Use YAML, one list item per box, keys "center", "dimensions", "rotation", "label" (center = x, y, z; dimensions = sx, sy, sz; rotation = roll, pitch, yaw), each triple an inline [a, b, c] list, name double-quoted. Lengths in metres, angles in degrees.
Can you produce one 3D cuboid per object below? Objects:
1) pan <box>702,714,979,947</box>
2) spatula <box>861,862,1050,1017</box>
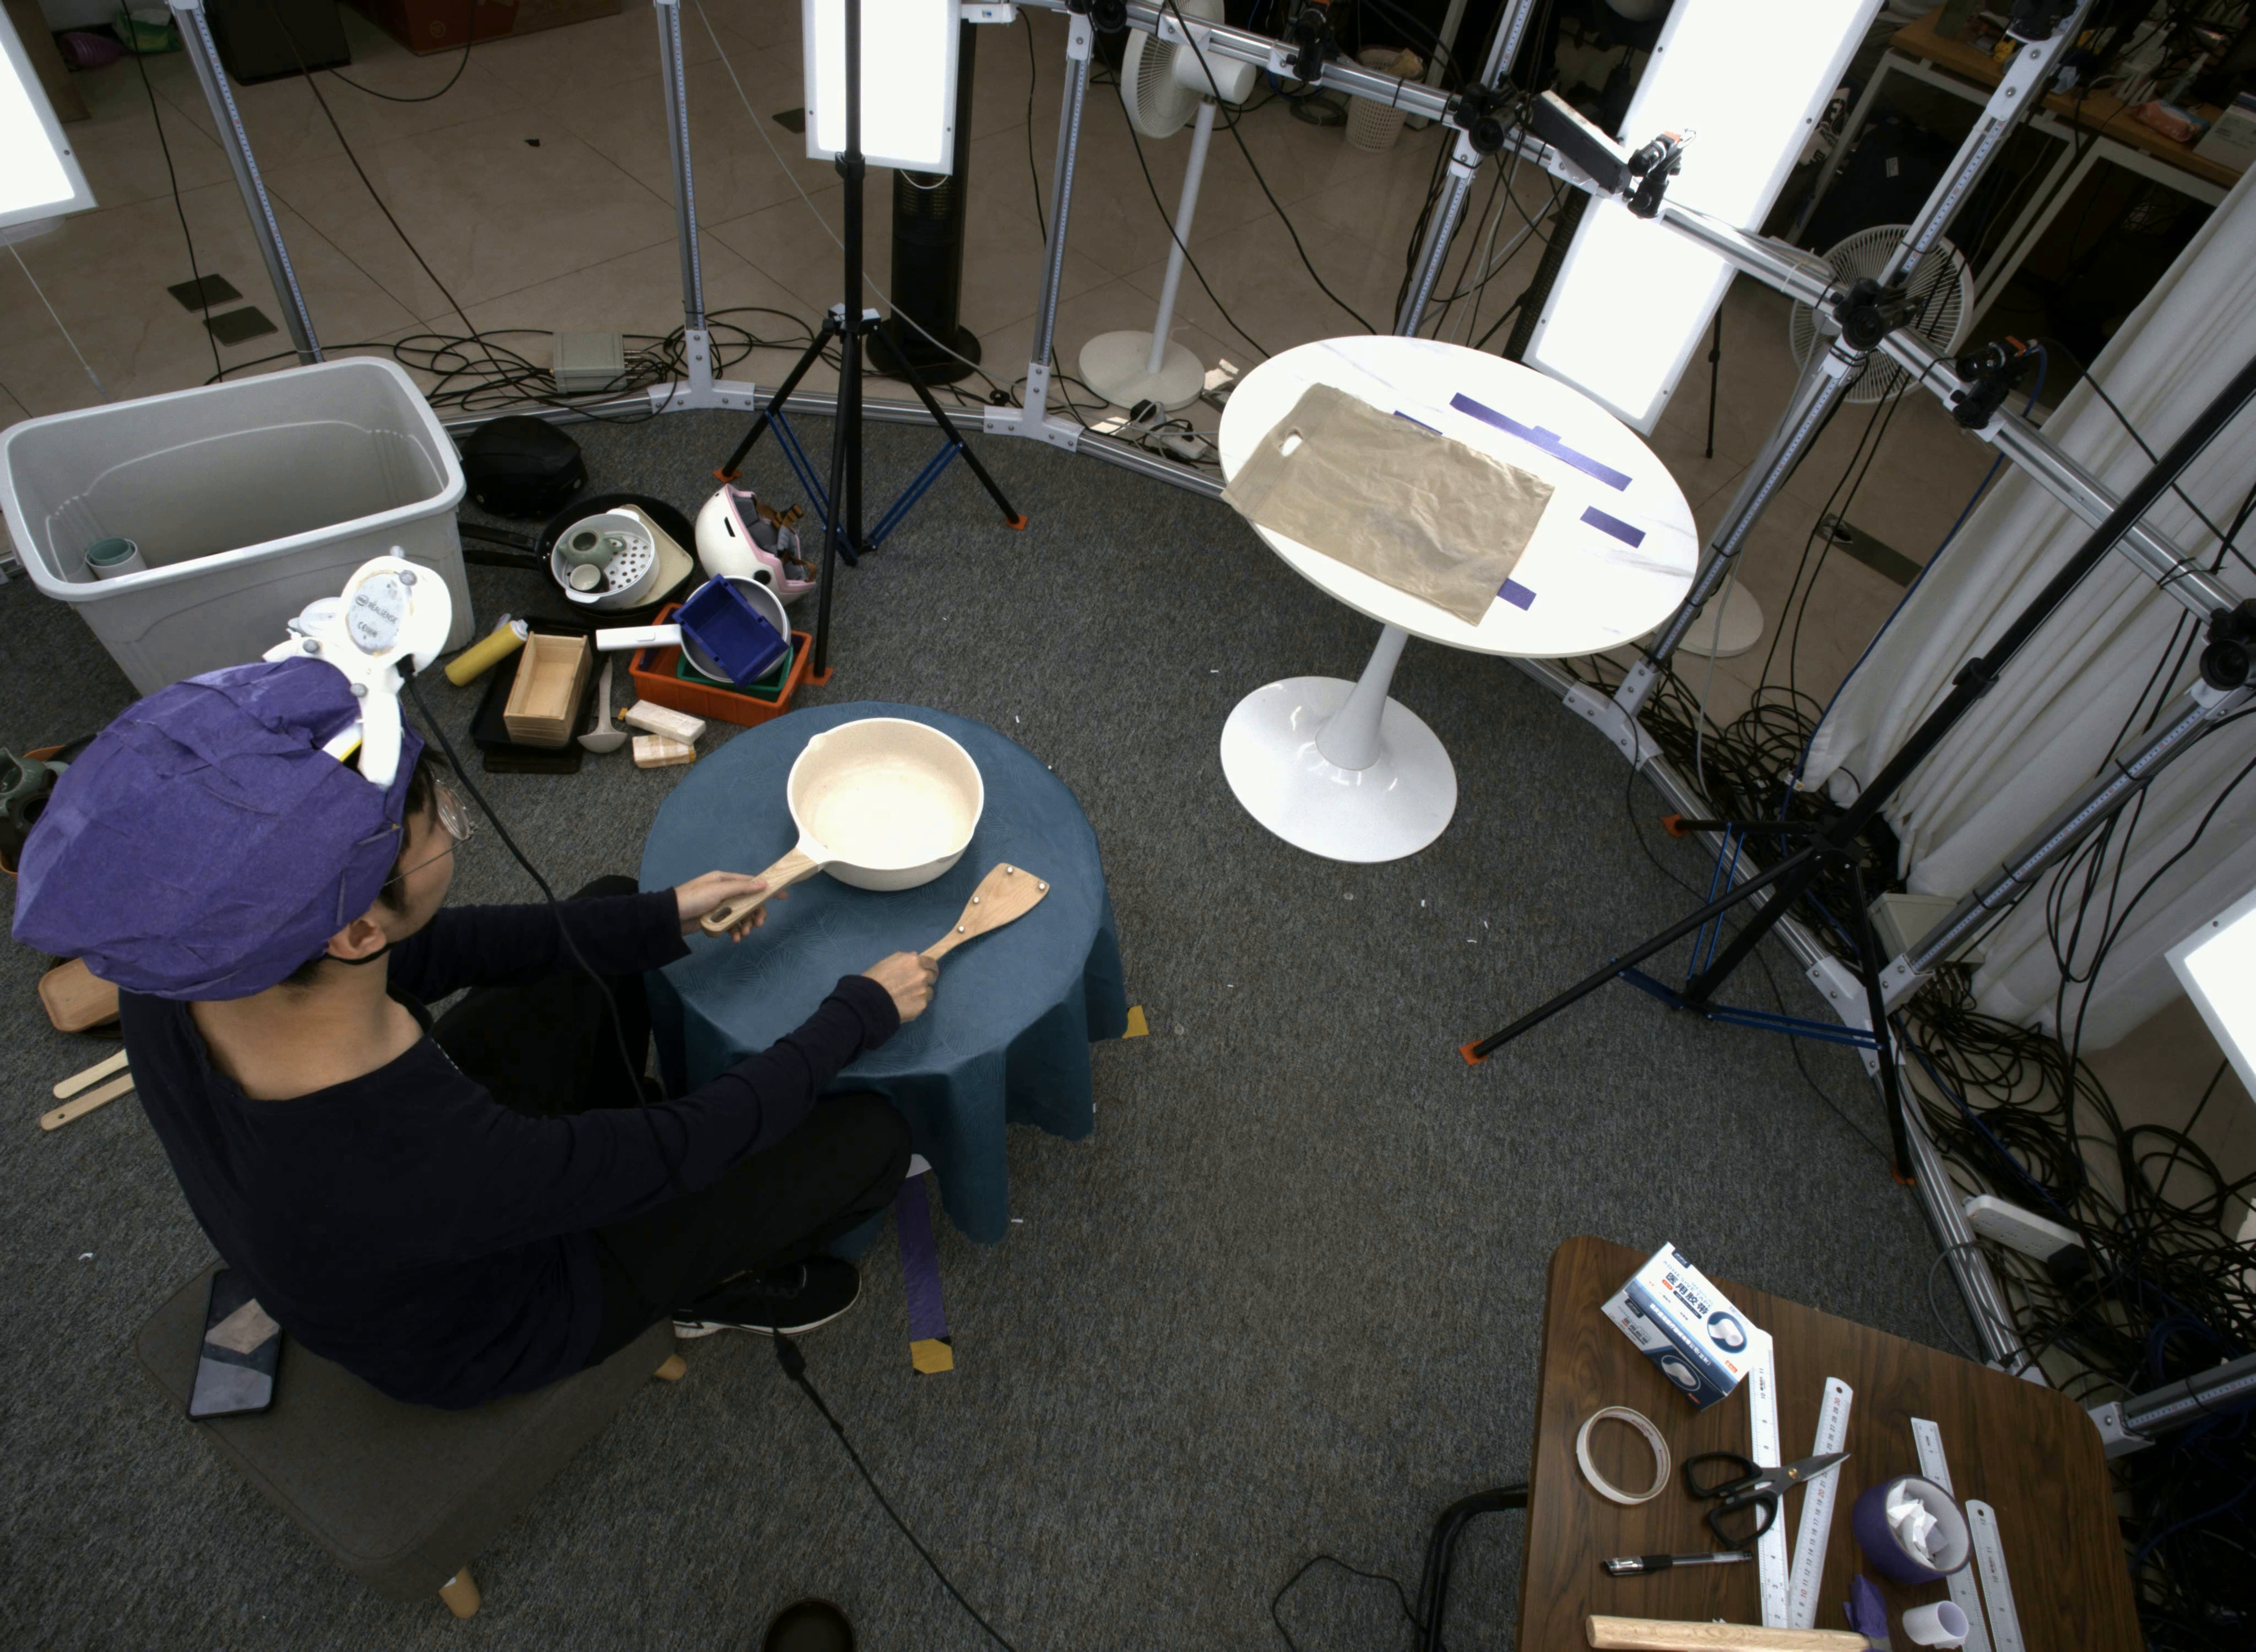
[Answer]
- center: [-0.374, 0.025, 1.652]
  dimensions: [0.258, 0.104, 0.434]
  rotation: [35, 54, 12]
  label: "pan"
- center: [-0.221, 0.139, 1.637]
  dimensions: [0.078, 0.017, 0.328]
  rotation: [35, 43, 14]
  label: "spatula"
